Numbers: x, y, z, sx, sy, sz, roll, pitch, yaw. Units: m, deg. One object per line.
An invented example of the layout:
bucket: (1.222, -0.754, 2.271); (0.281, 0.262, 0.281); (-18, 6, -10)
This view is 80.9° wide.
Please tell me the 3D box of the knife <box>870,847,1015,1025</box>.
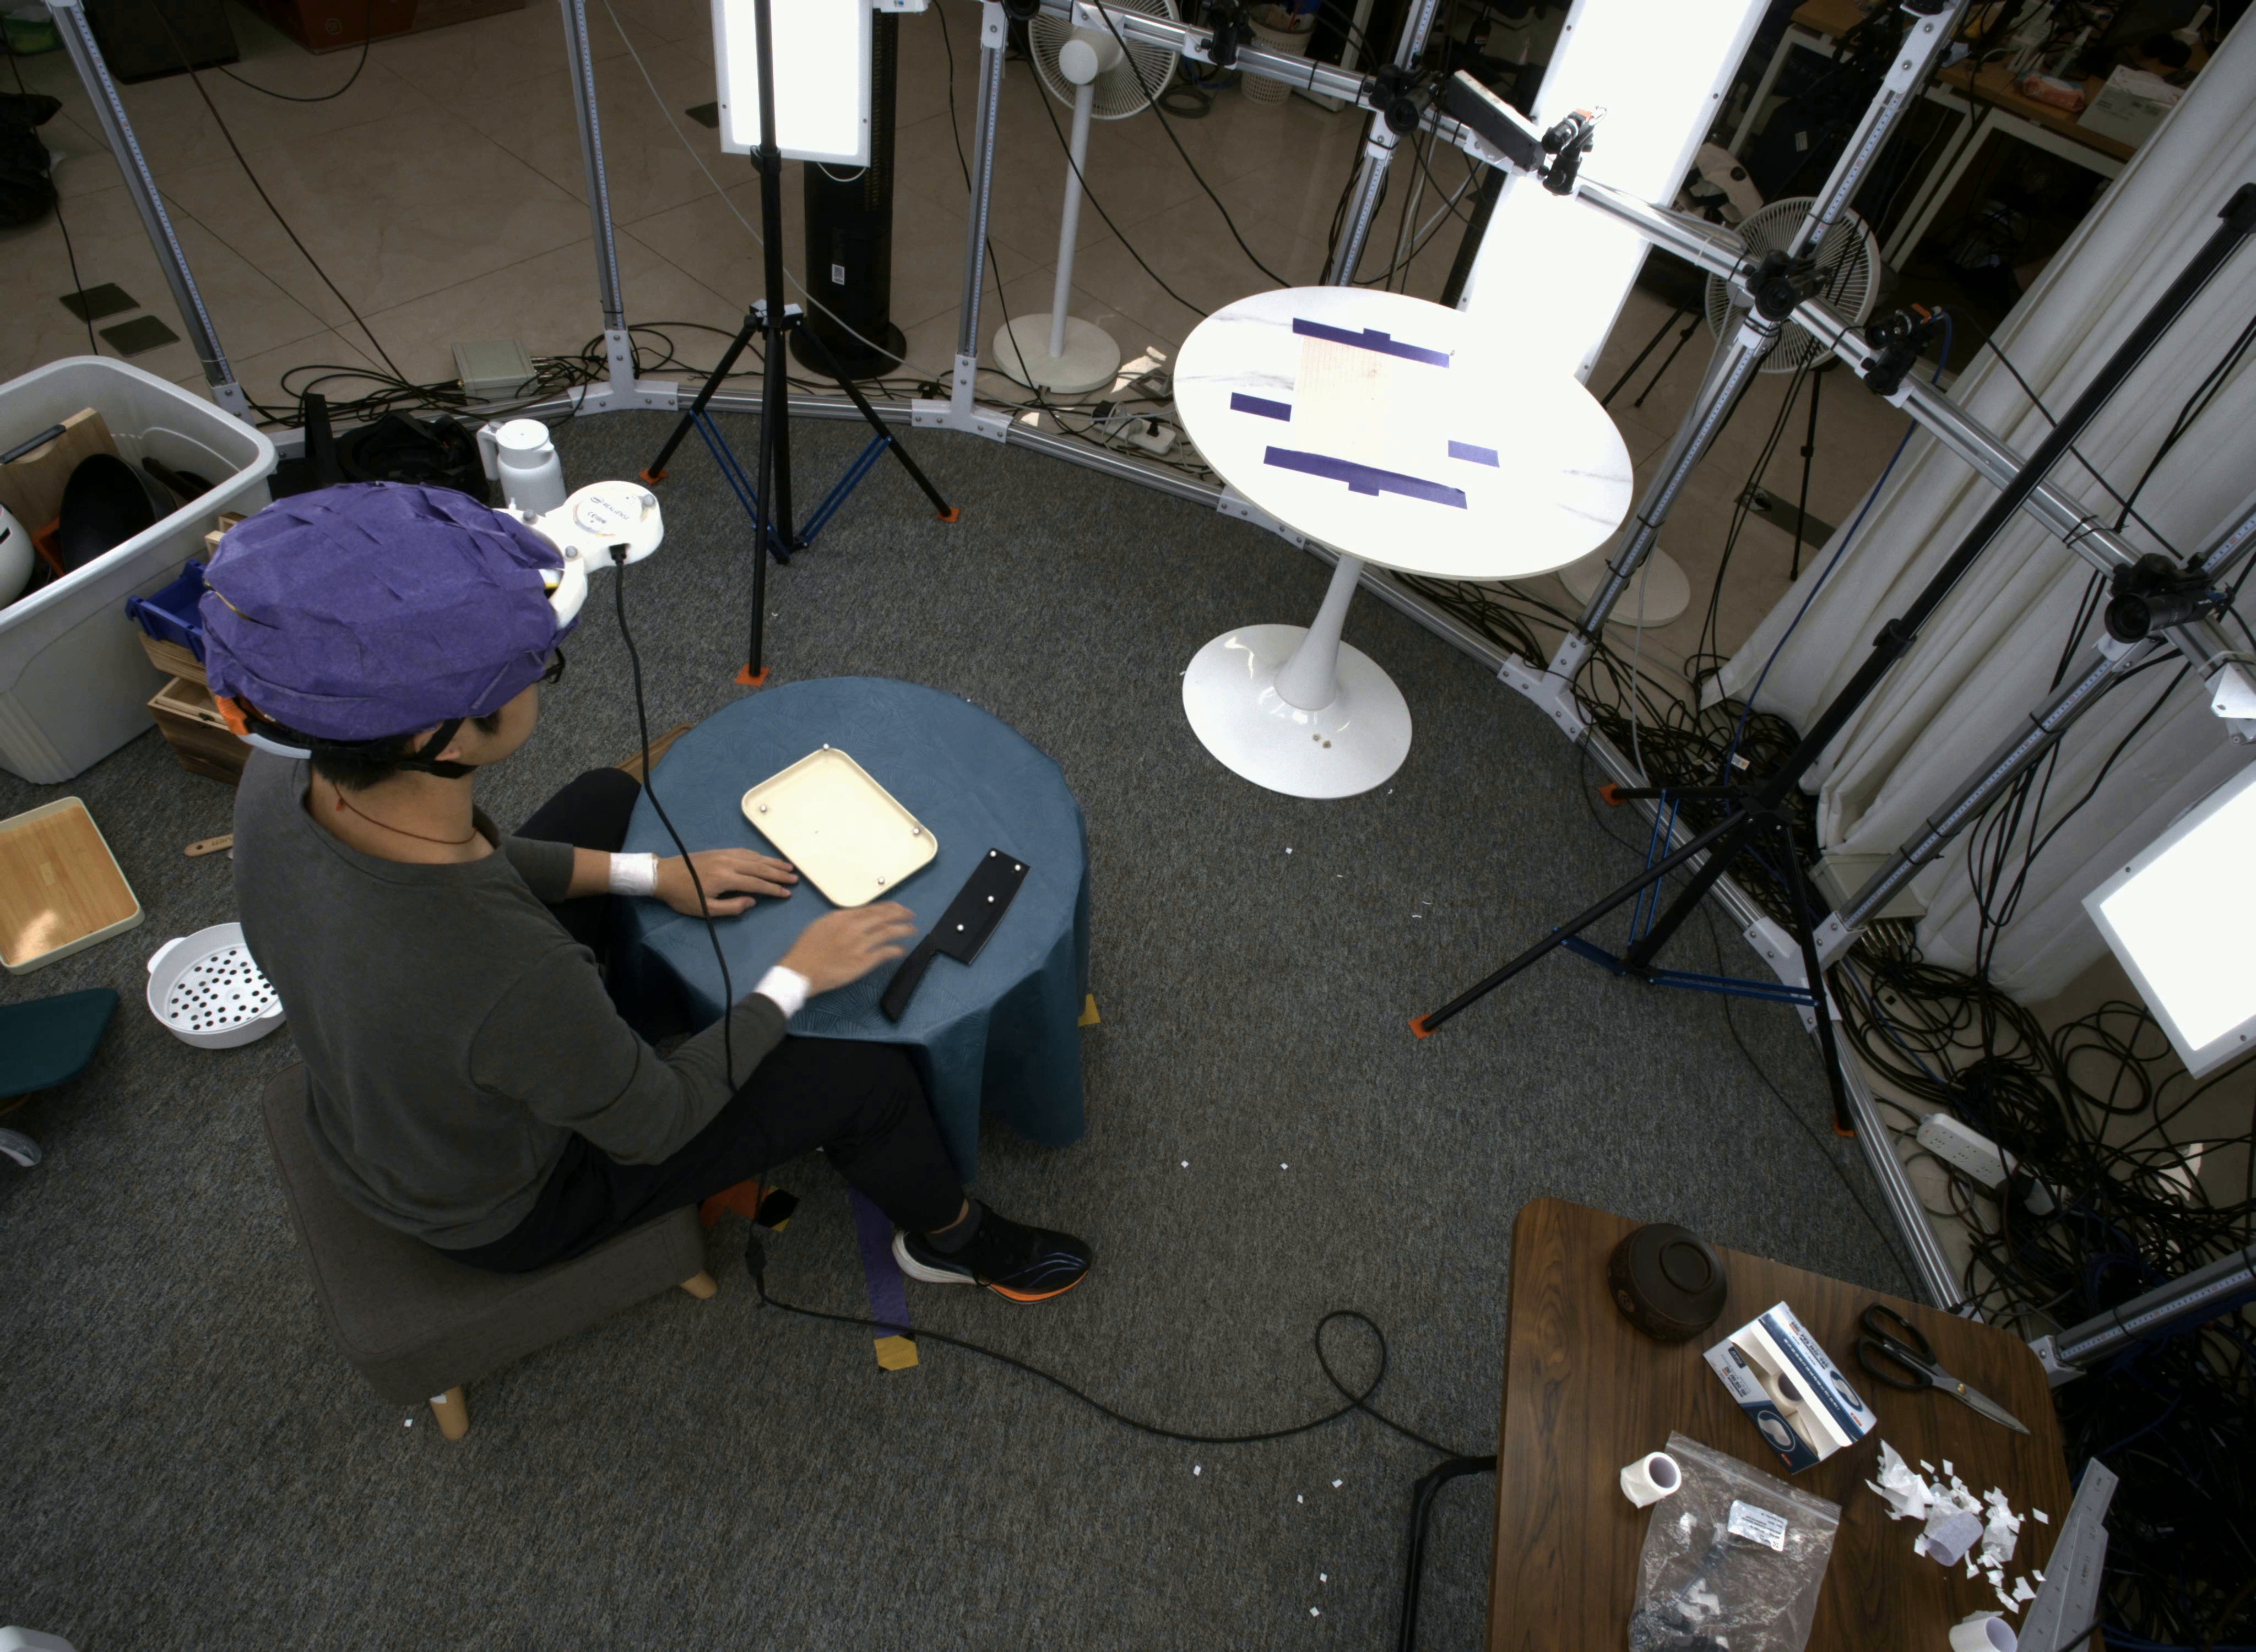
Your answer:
knife: (-0.238, 0.137, 1.673); (0.080, 0.021, 0.301); (30, 51, 7)

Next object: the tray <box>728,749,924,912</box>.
tray: (-0.402, 0.003, 1.727); (0.234, 0.018, 0.171); (41, 56, 16)
